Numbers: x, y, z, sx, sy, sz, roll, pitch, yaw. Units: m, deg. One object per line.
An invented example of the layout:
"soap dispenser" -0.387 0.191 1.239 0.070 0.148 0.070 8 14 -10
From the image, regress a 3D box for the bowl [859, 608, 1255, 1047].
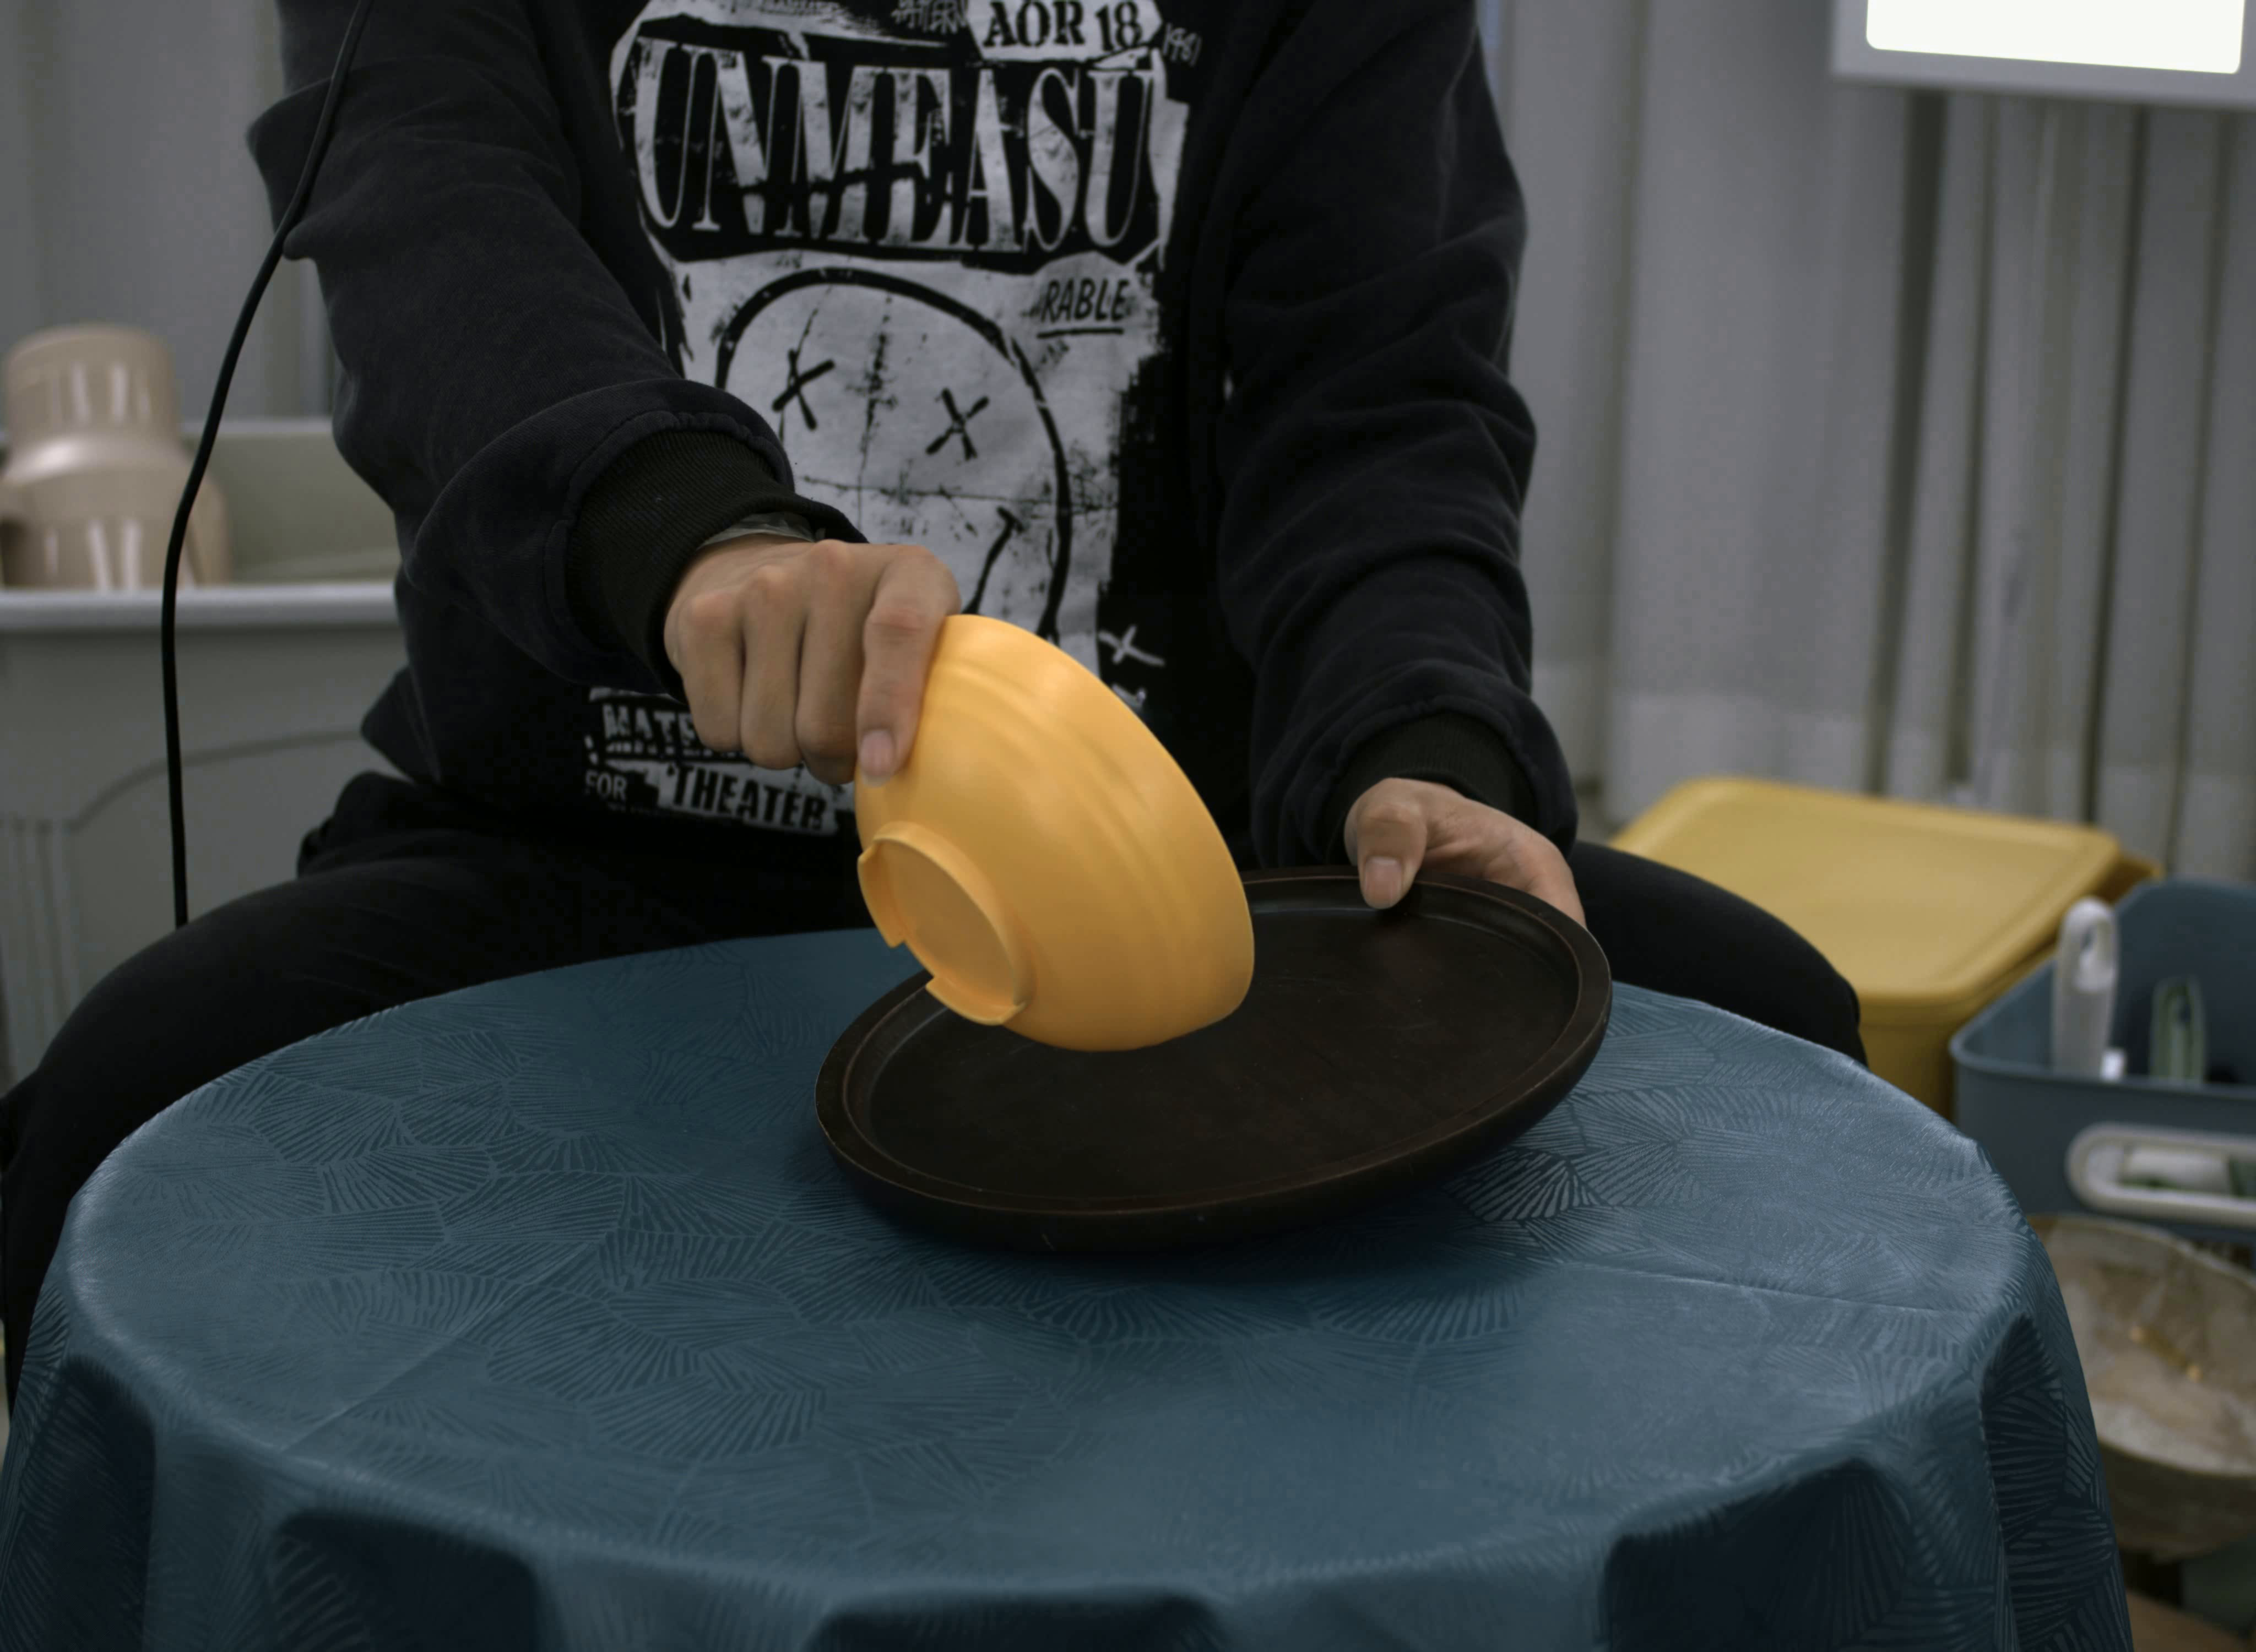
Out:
"bowl" -0.034 0.013 1.526 0.060 0.147 0.143 -38 35 -26

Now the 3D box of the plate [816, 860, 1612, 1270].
"plate" 0.028 0.072 1.649 0.254 0.029 0.253 -10 22 5
